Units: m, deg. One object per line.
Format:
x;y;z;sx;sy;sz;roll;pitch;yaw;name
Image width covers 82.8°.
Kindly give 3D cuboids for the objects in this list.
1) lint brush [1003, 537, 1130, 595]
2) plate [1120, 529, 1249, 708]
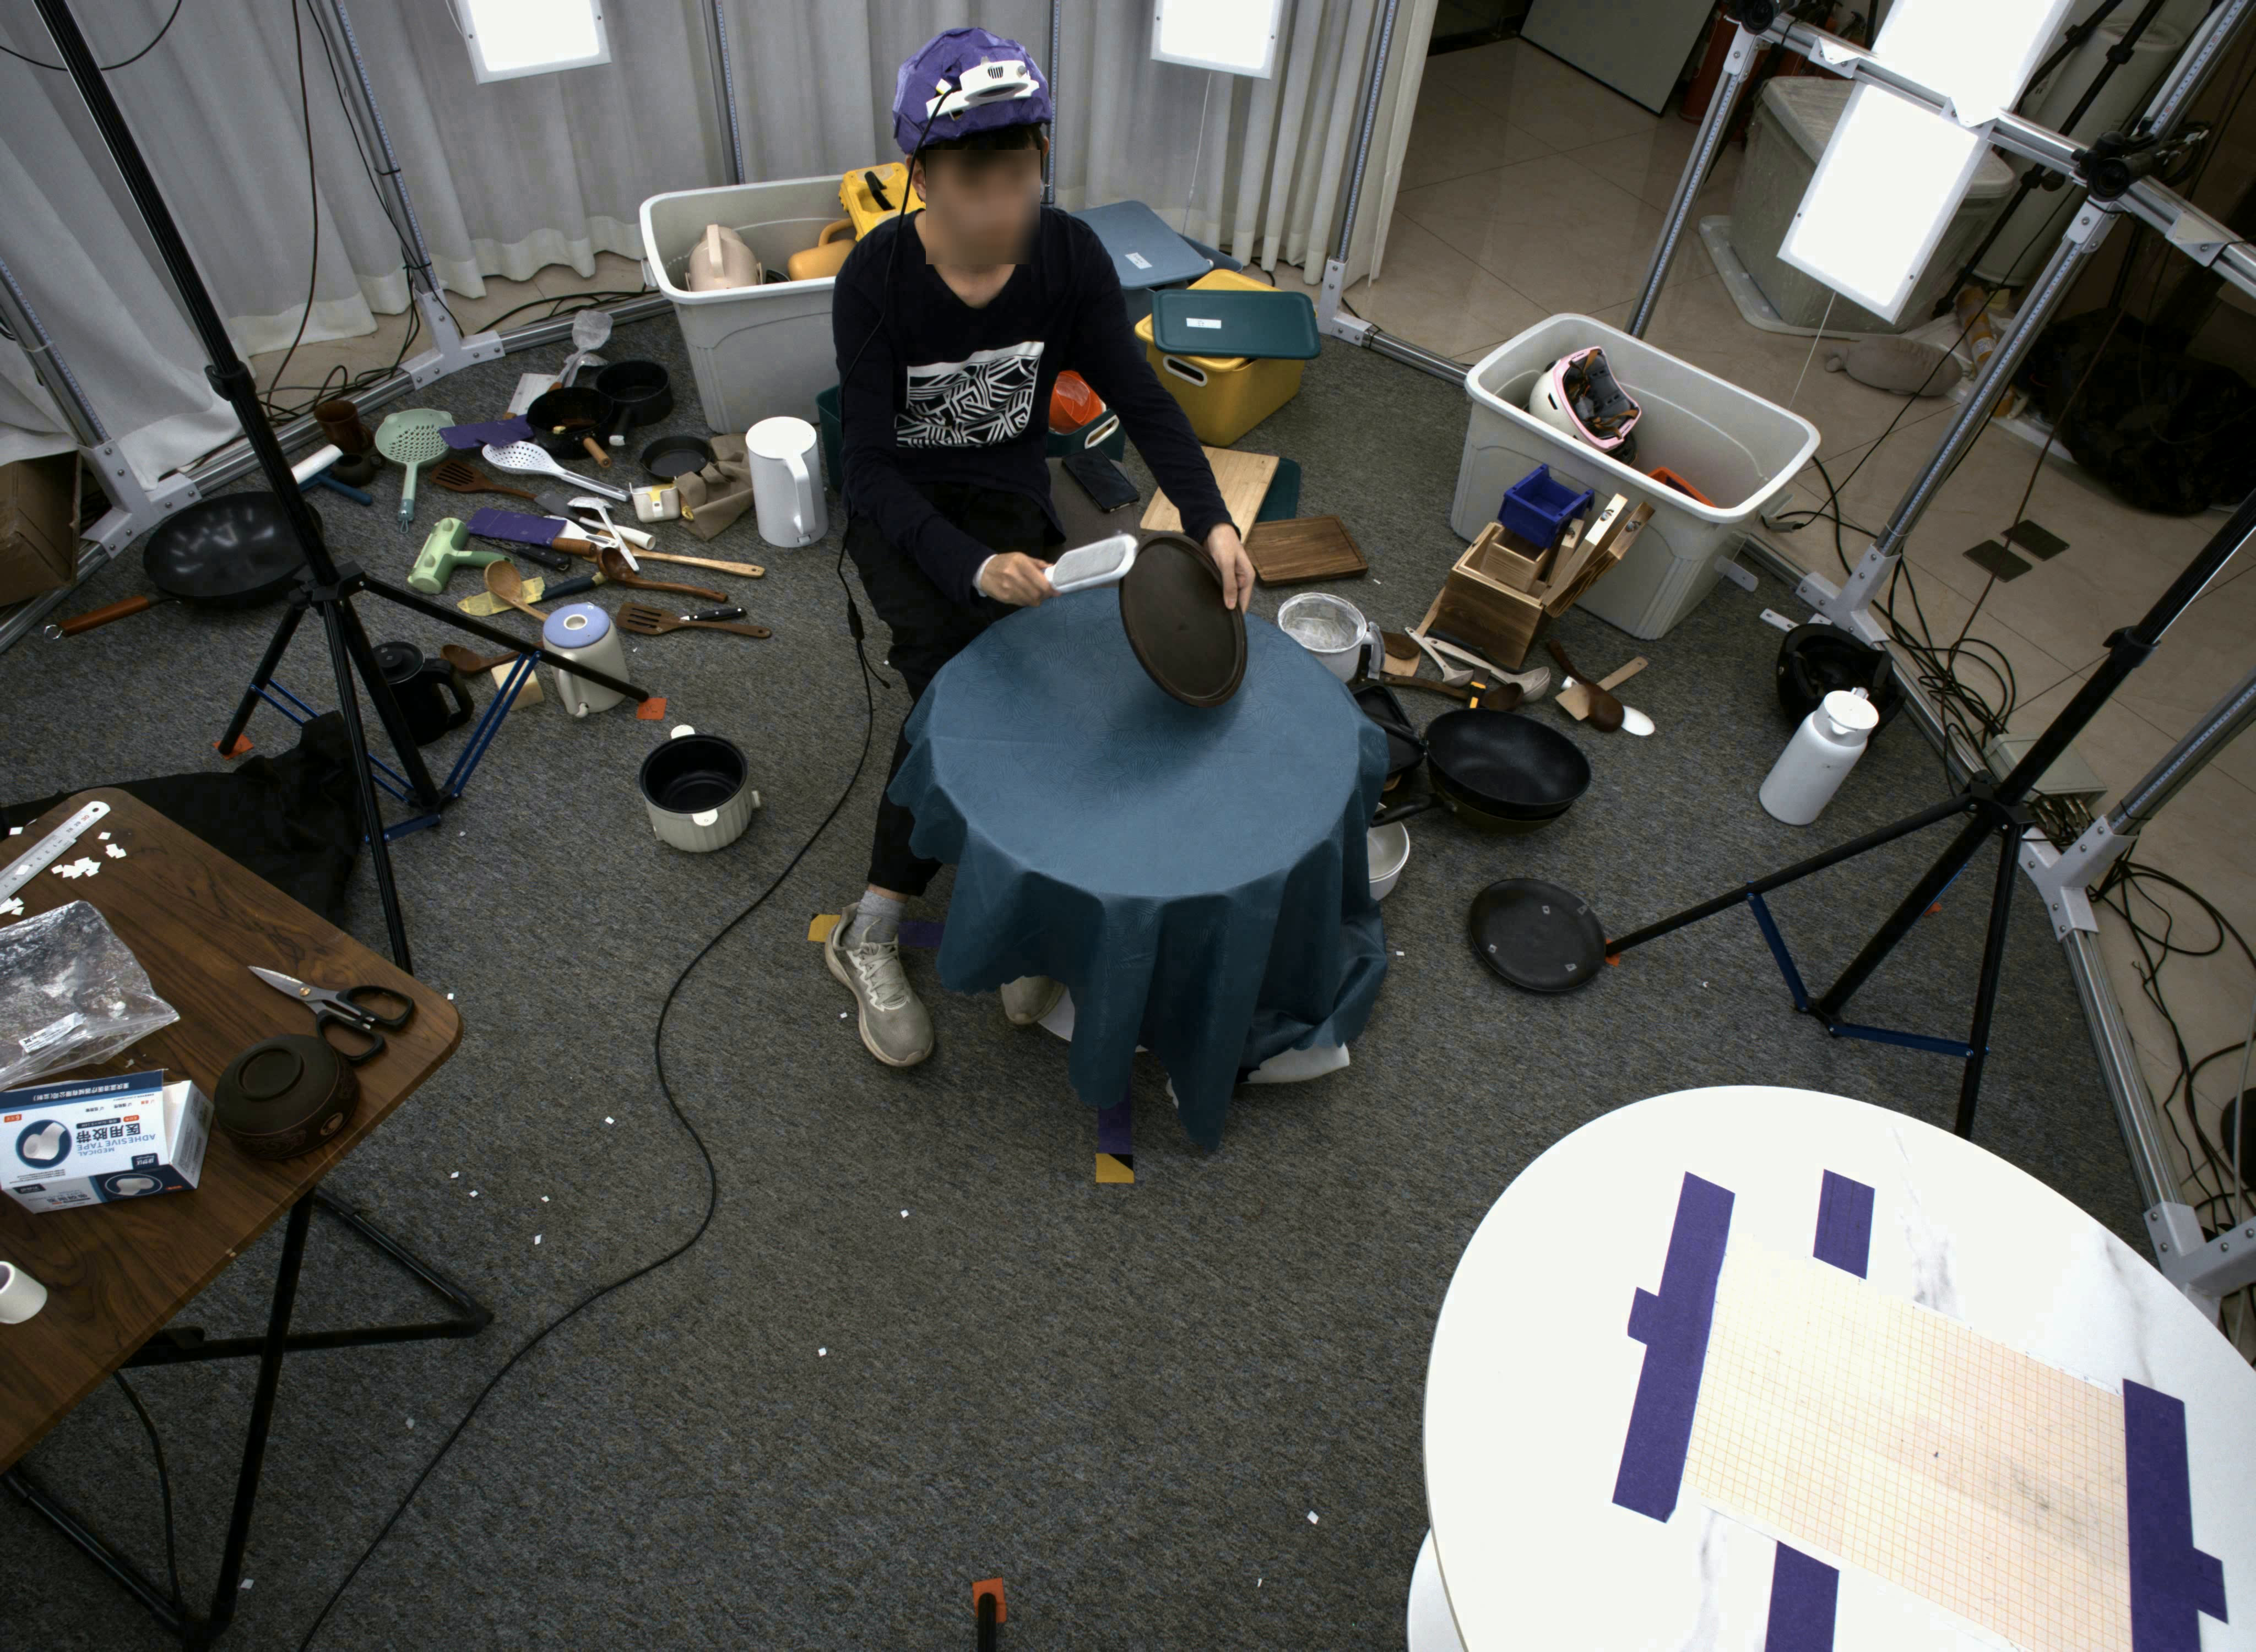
-0.088;-0.344;1.744;0.021;0.310;0.060;15;83;-34;lint brush
0.078;-0.283;1.764;0.029;0.250;0.260;-17;34;41;plate
